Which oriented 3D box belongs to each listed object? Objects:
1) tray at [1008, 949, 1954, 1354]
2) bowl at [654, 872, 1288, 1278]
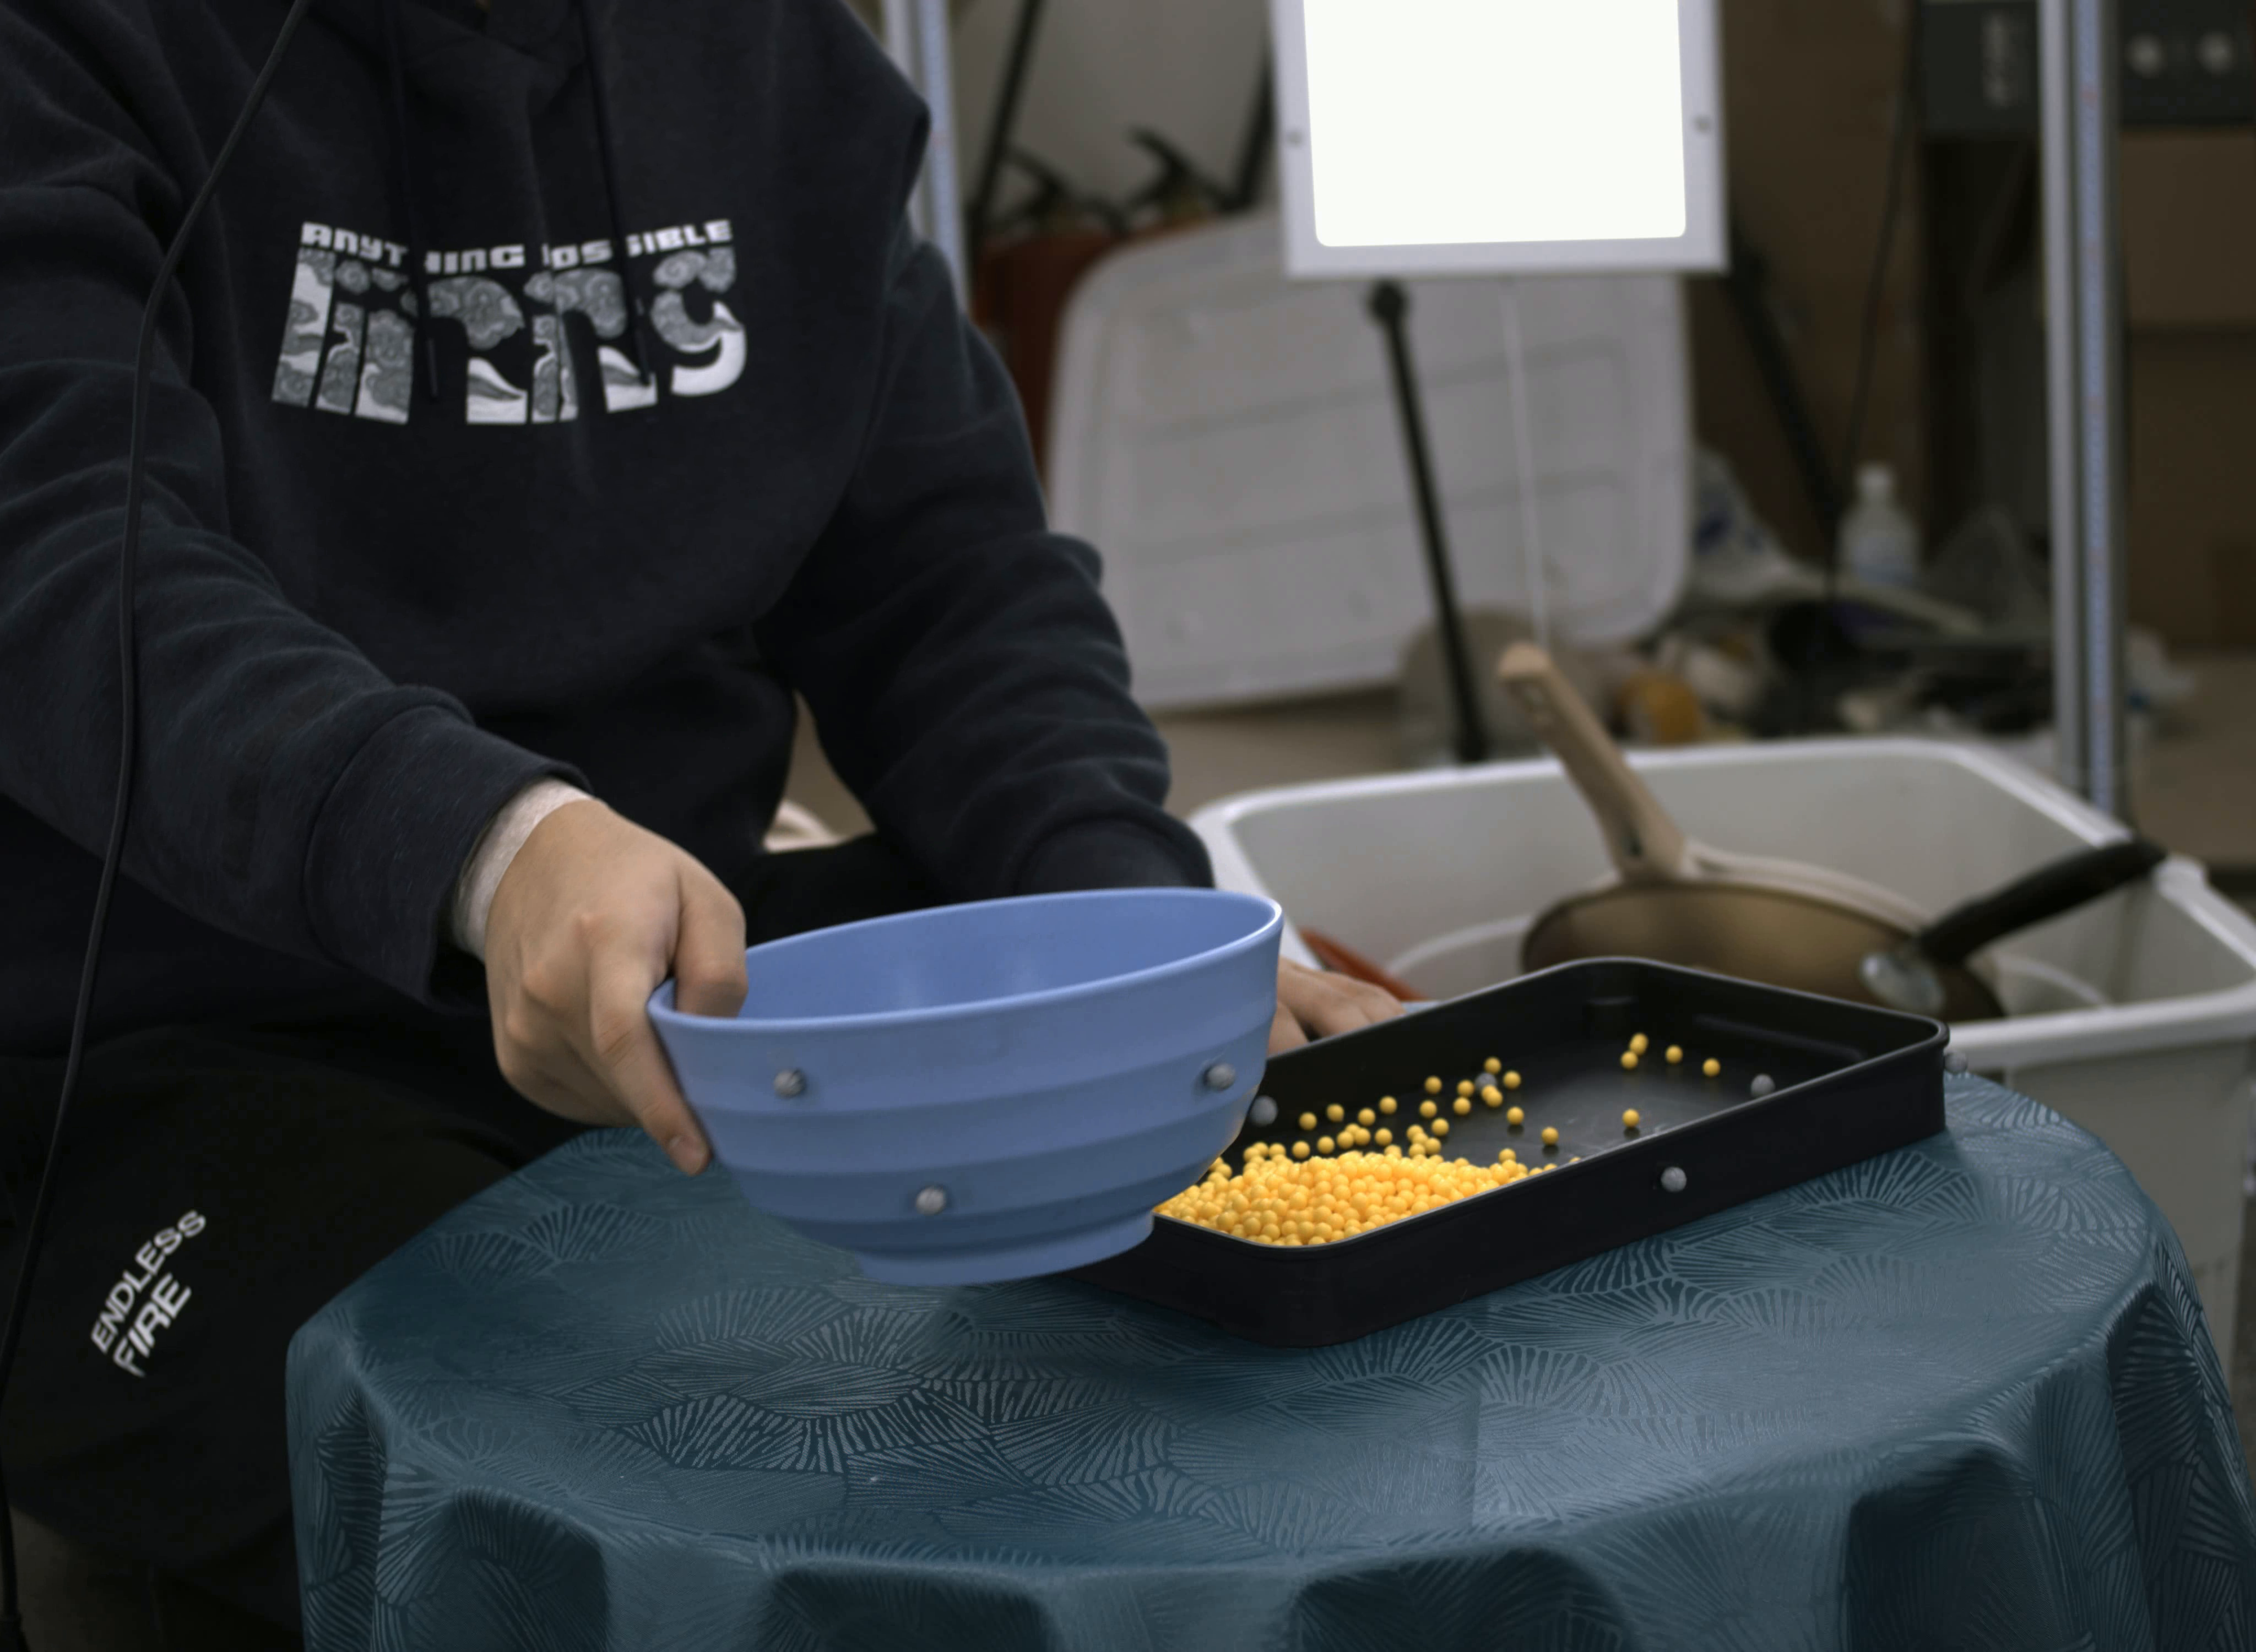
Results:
[{"bbox_3d":[0.121,0.105,1.873,0.310,0.037,0.188,-17,17,-37],"label":"tray"},{"bbox_3d":[-0.041,0.081,1.686,0.196,0.096,0.196,-9,9,0],"label":"bowl"}]
